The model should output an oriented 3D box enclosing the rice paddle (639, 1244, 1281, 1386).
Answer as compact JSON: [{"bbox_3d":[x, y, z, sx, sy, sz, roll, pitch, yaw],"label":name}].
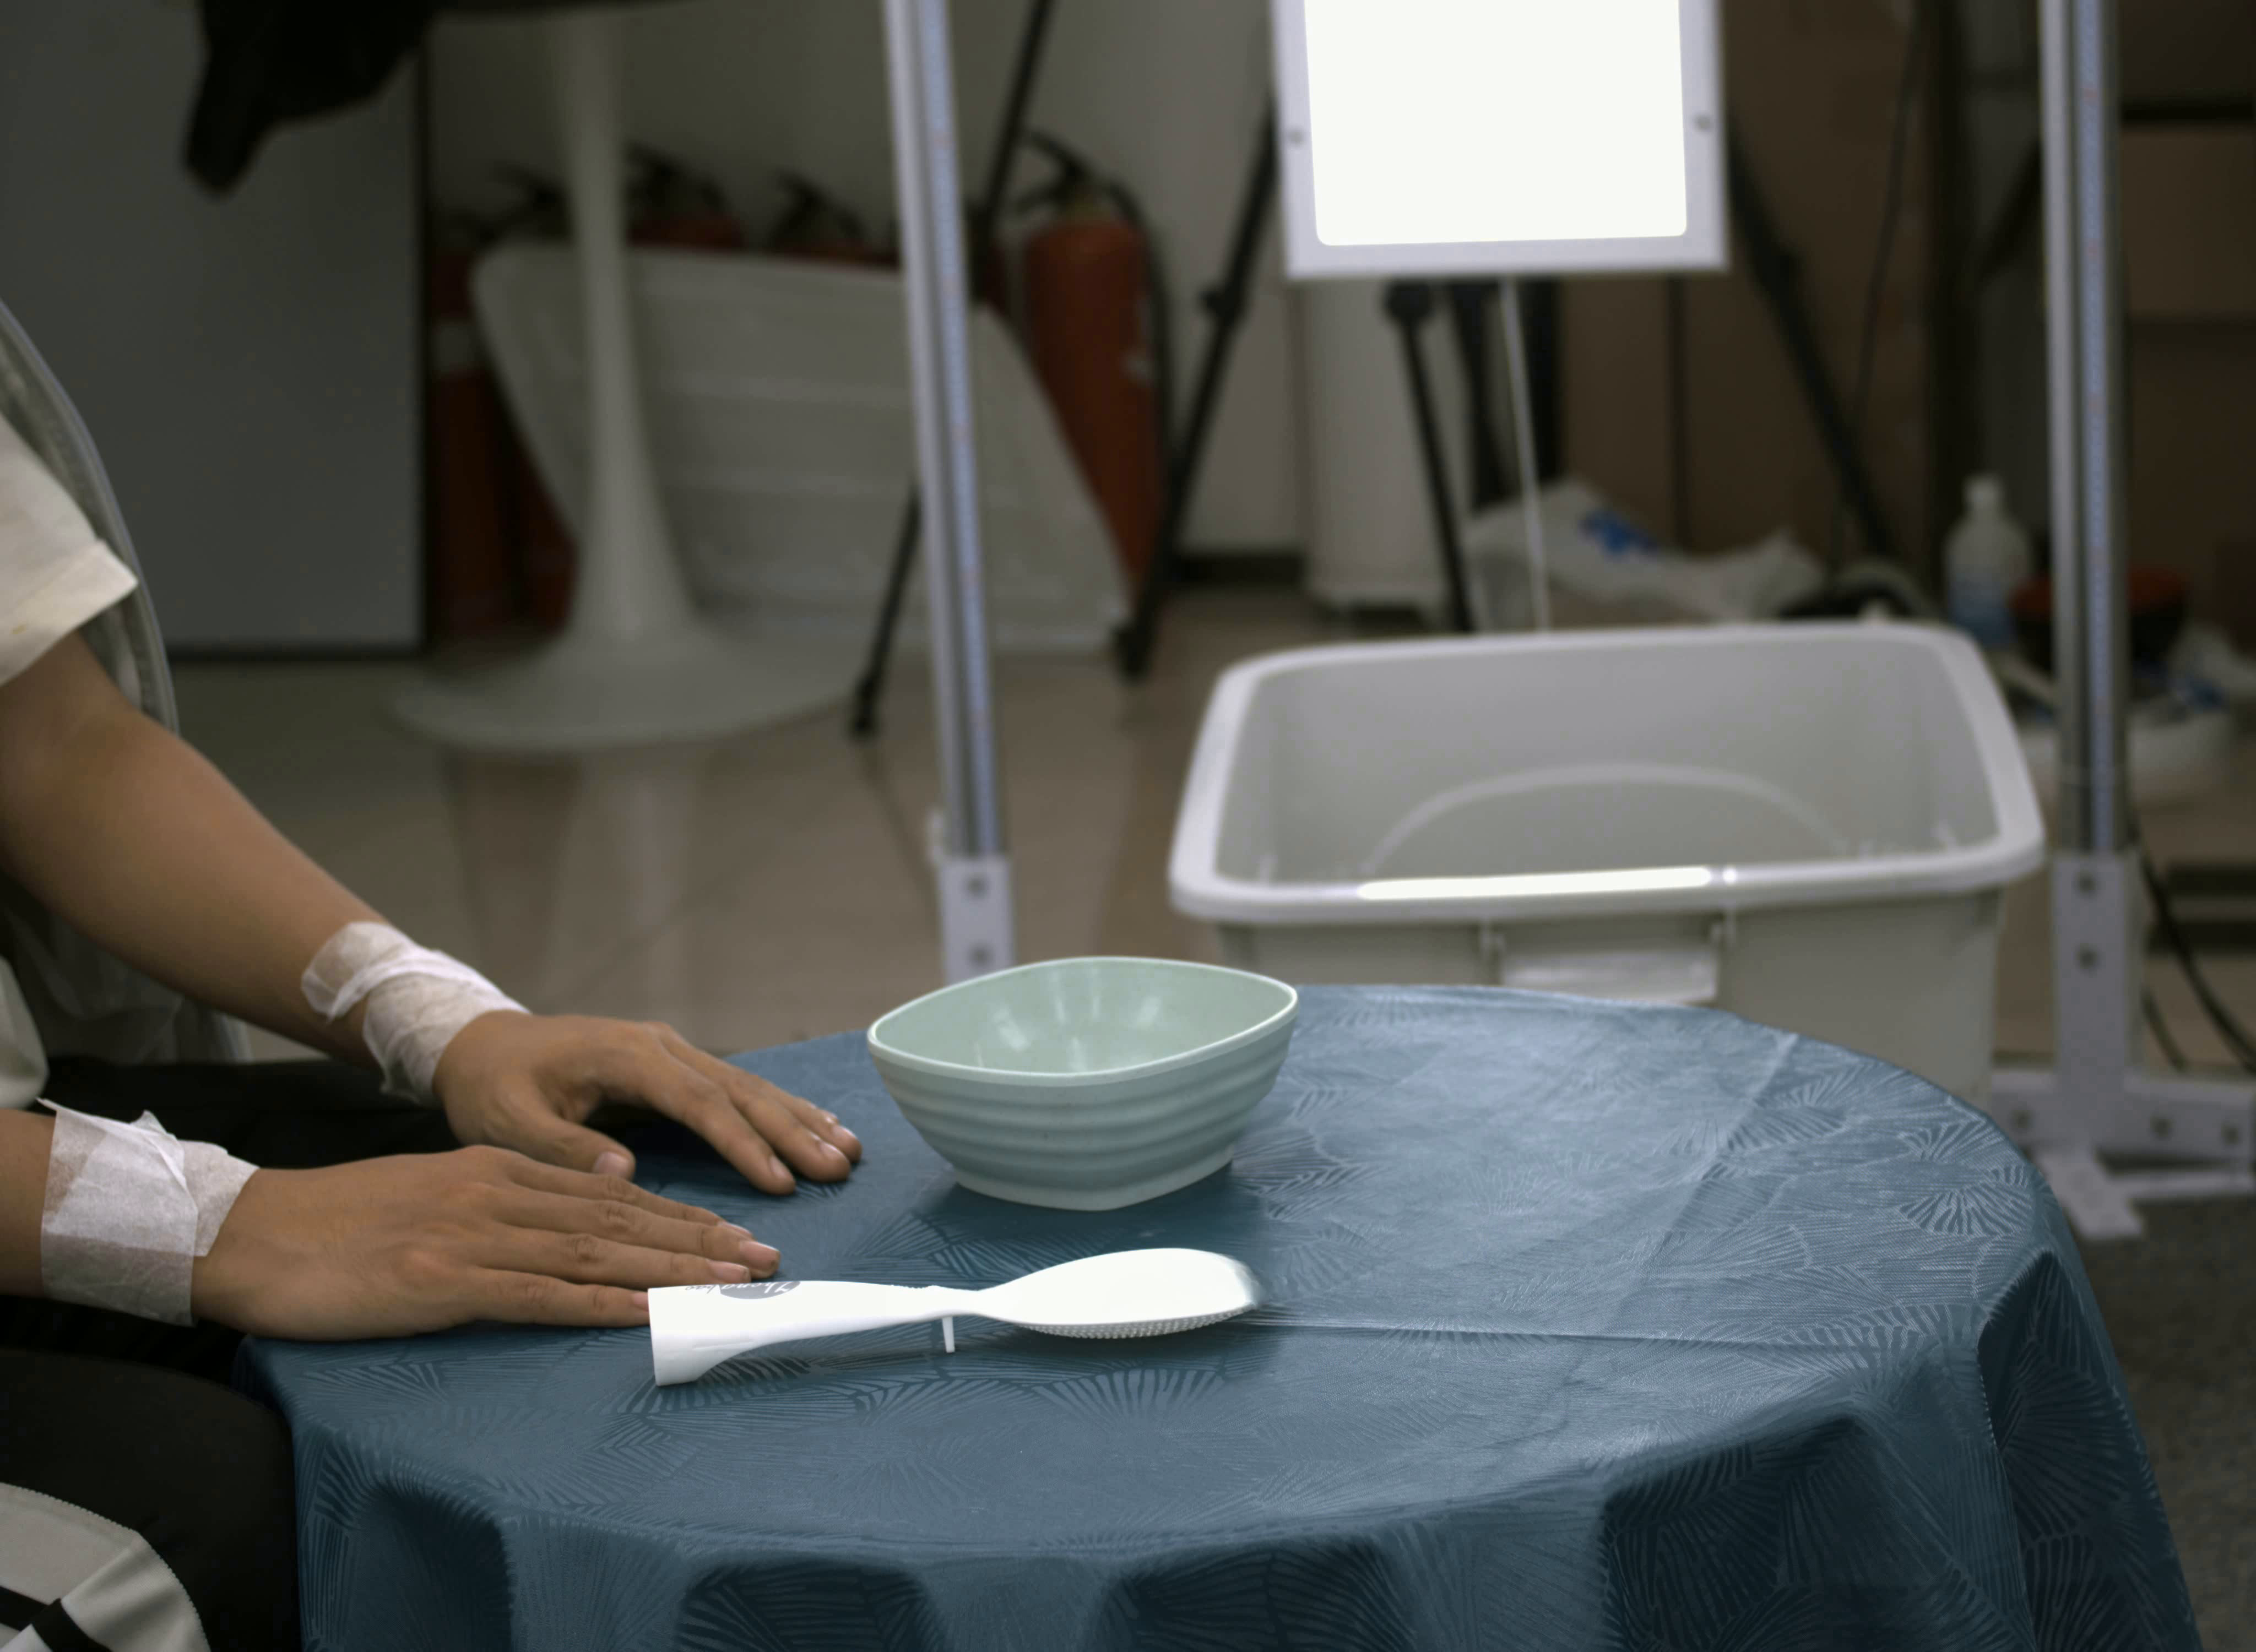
[{"bbox_3d":[-0.052,0.151,1.752,0.204,0.029,0.069,-6,15,-2],"label":"rice paddle"}]

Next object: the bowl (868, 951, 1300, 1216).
[{"bbox_3d":[-0.014,0.093,1.921,0.151,0.059,0.151,-4,16,0],"label":"bowl"}]
